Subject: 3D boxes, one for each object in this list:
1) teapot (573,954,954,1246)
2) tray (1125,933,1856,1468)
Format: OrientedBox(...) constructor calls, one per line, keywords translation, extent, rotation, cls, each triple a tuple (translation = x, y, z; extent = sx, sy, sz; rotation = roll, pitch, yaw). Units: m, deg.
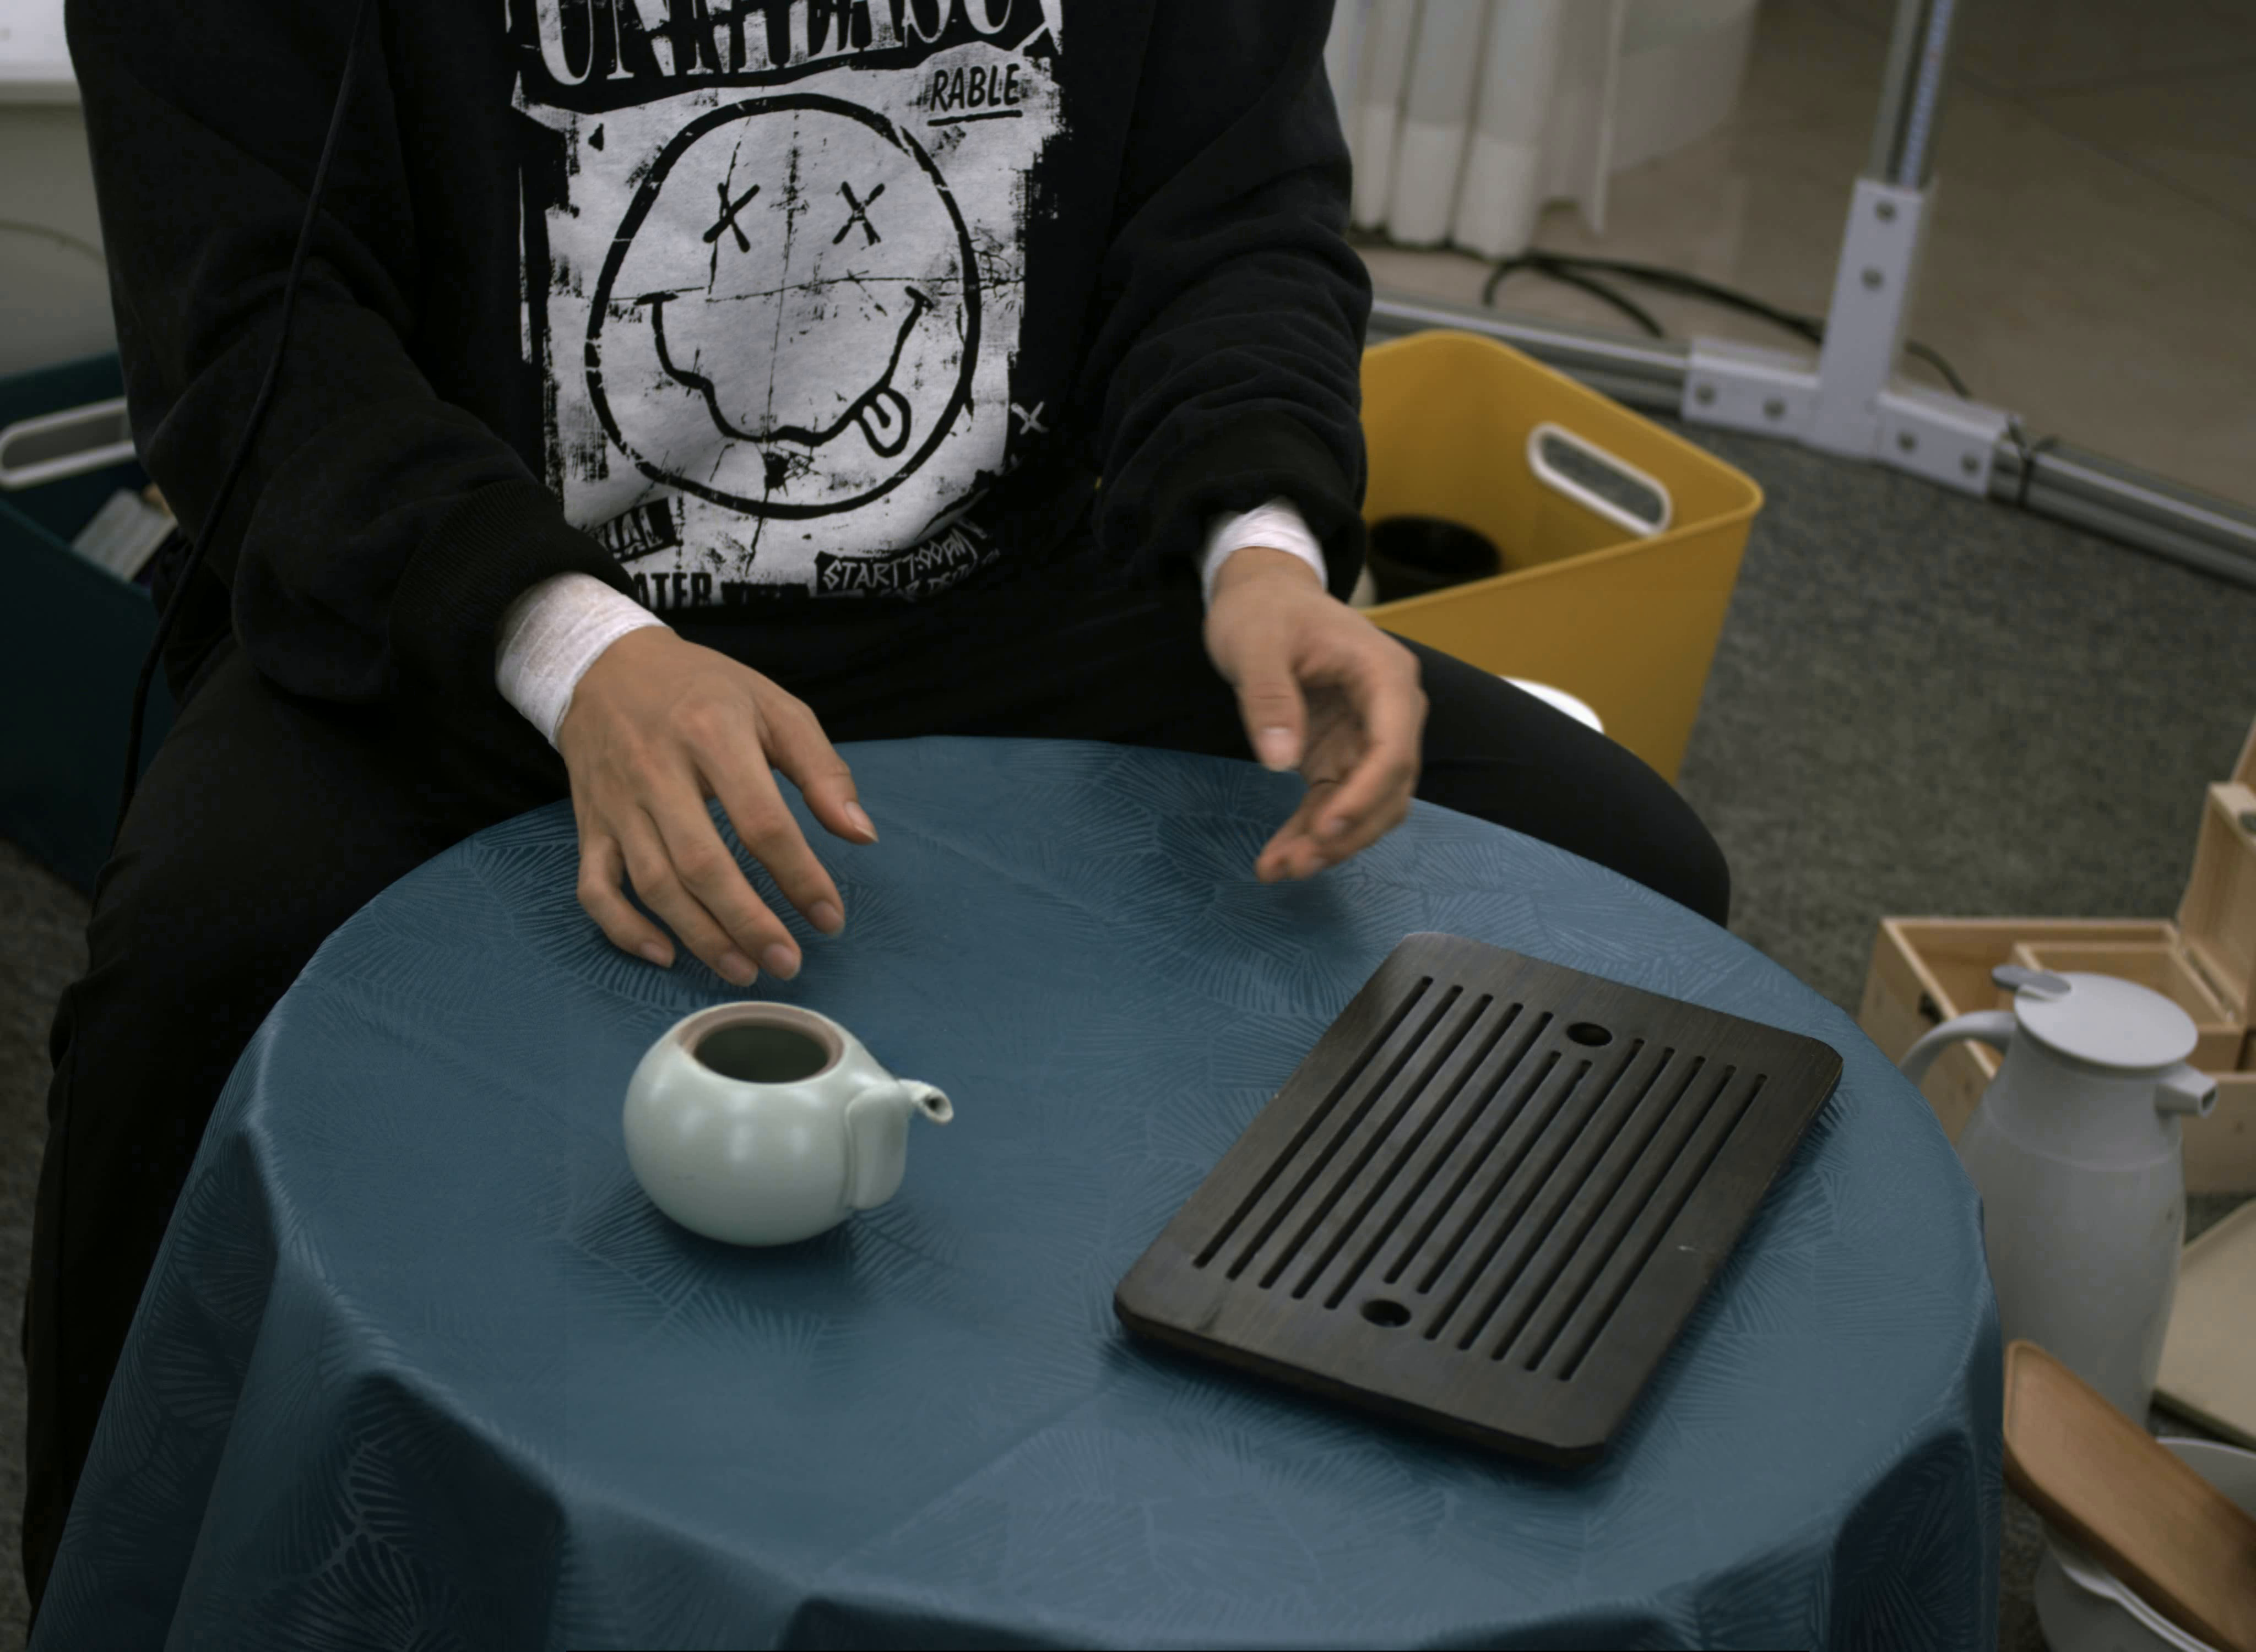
OrientedBox(translation=(-0.122, 0.096, 1.751), extent=(0.144, 0.074, 0.088), rotation=(22, 30, 25), cls="teapot")
OrientedBox(translation=(0.129, 0.124, 1.813), extent=(0.170, 0.018, 0.306), rotation=(16, 28, 18), cls="tray")
